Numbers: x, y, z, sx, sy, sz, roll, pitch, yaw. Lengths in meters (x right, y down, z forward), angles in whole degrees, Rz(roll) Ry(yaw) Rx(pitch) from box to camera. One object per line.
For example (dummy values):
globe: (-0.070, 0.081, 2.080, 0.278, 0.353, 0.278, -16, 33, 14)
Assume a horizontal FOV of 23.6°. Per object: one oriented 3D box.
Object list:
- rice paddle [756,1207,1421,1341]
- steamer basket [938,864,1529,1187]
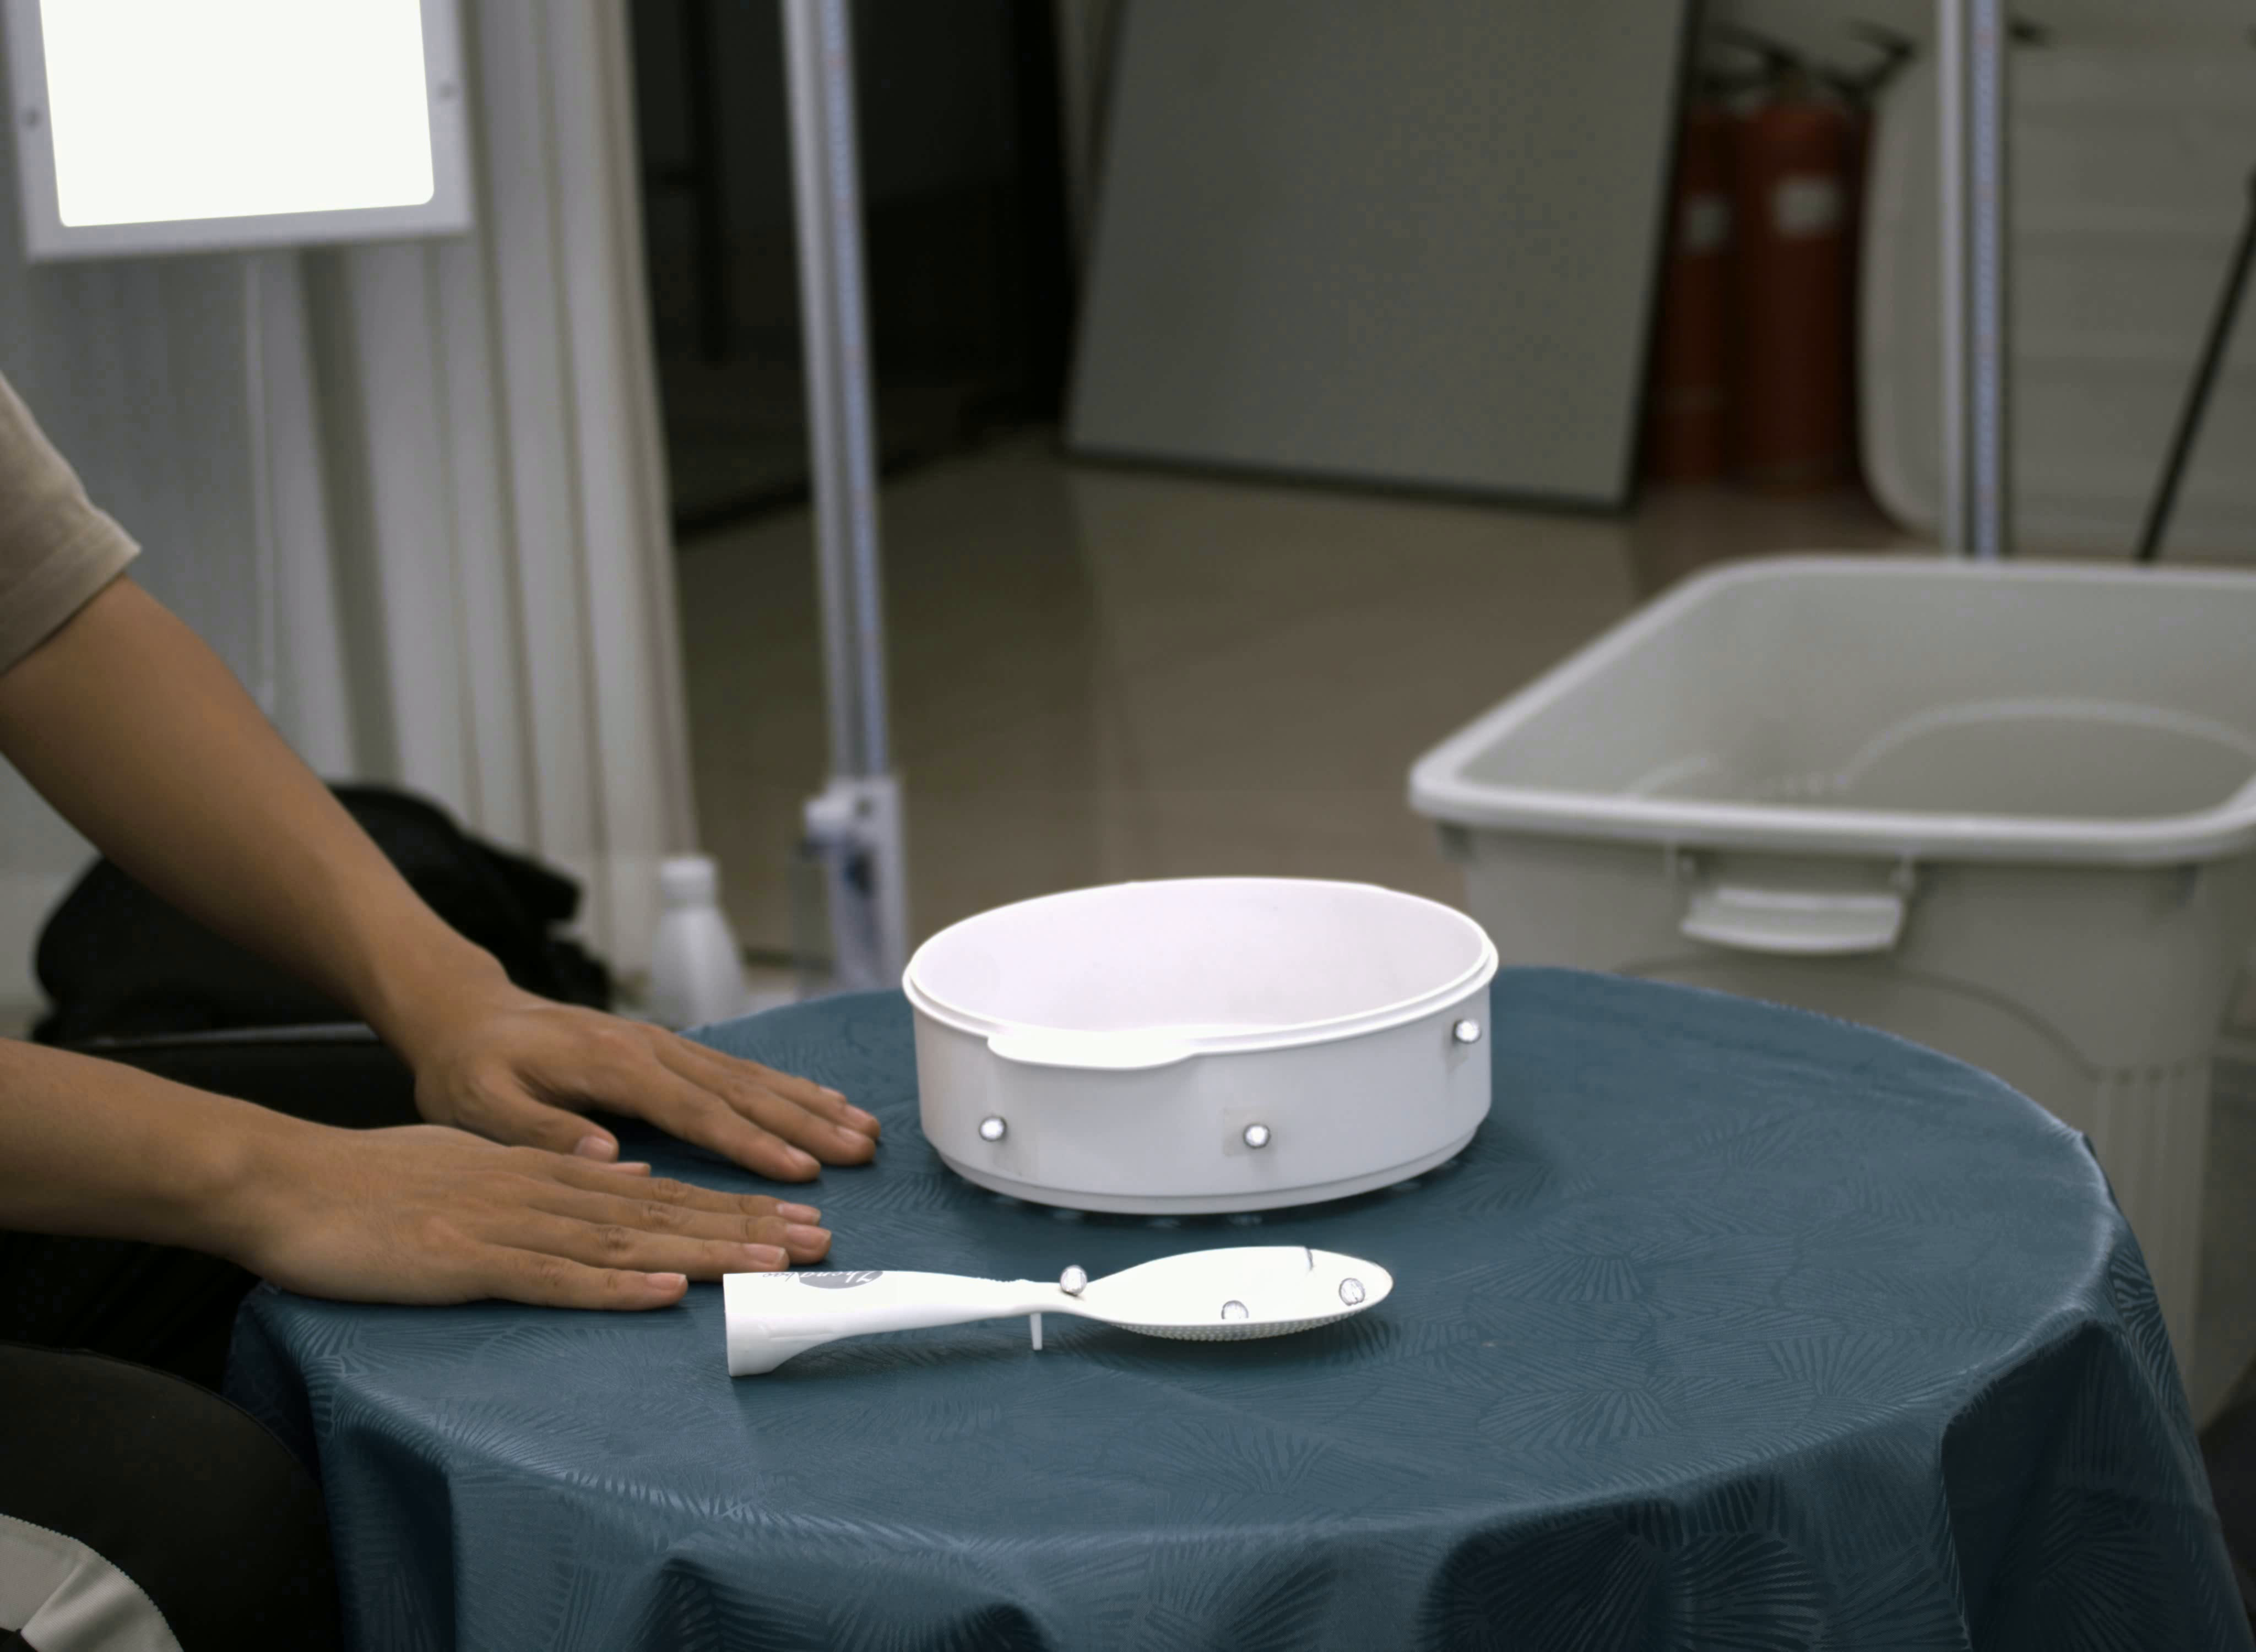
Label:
rice paddle: (-0.011, 0.132, 1.639, 0.202, 0.030, 0.069, -4, 15, -3)
steamer basket: (0.036, 0.067, 1.821, 0.202, 0.070, 0.228, 3, 14, 24)
